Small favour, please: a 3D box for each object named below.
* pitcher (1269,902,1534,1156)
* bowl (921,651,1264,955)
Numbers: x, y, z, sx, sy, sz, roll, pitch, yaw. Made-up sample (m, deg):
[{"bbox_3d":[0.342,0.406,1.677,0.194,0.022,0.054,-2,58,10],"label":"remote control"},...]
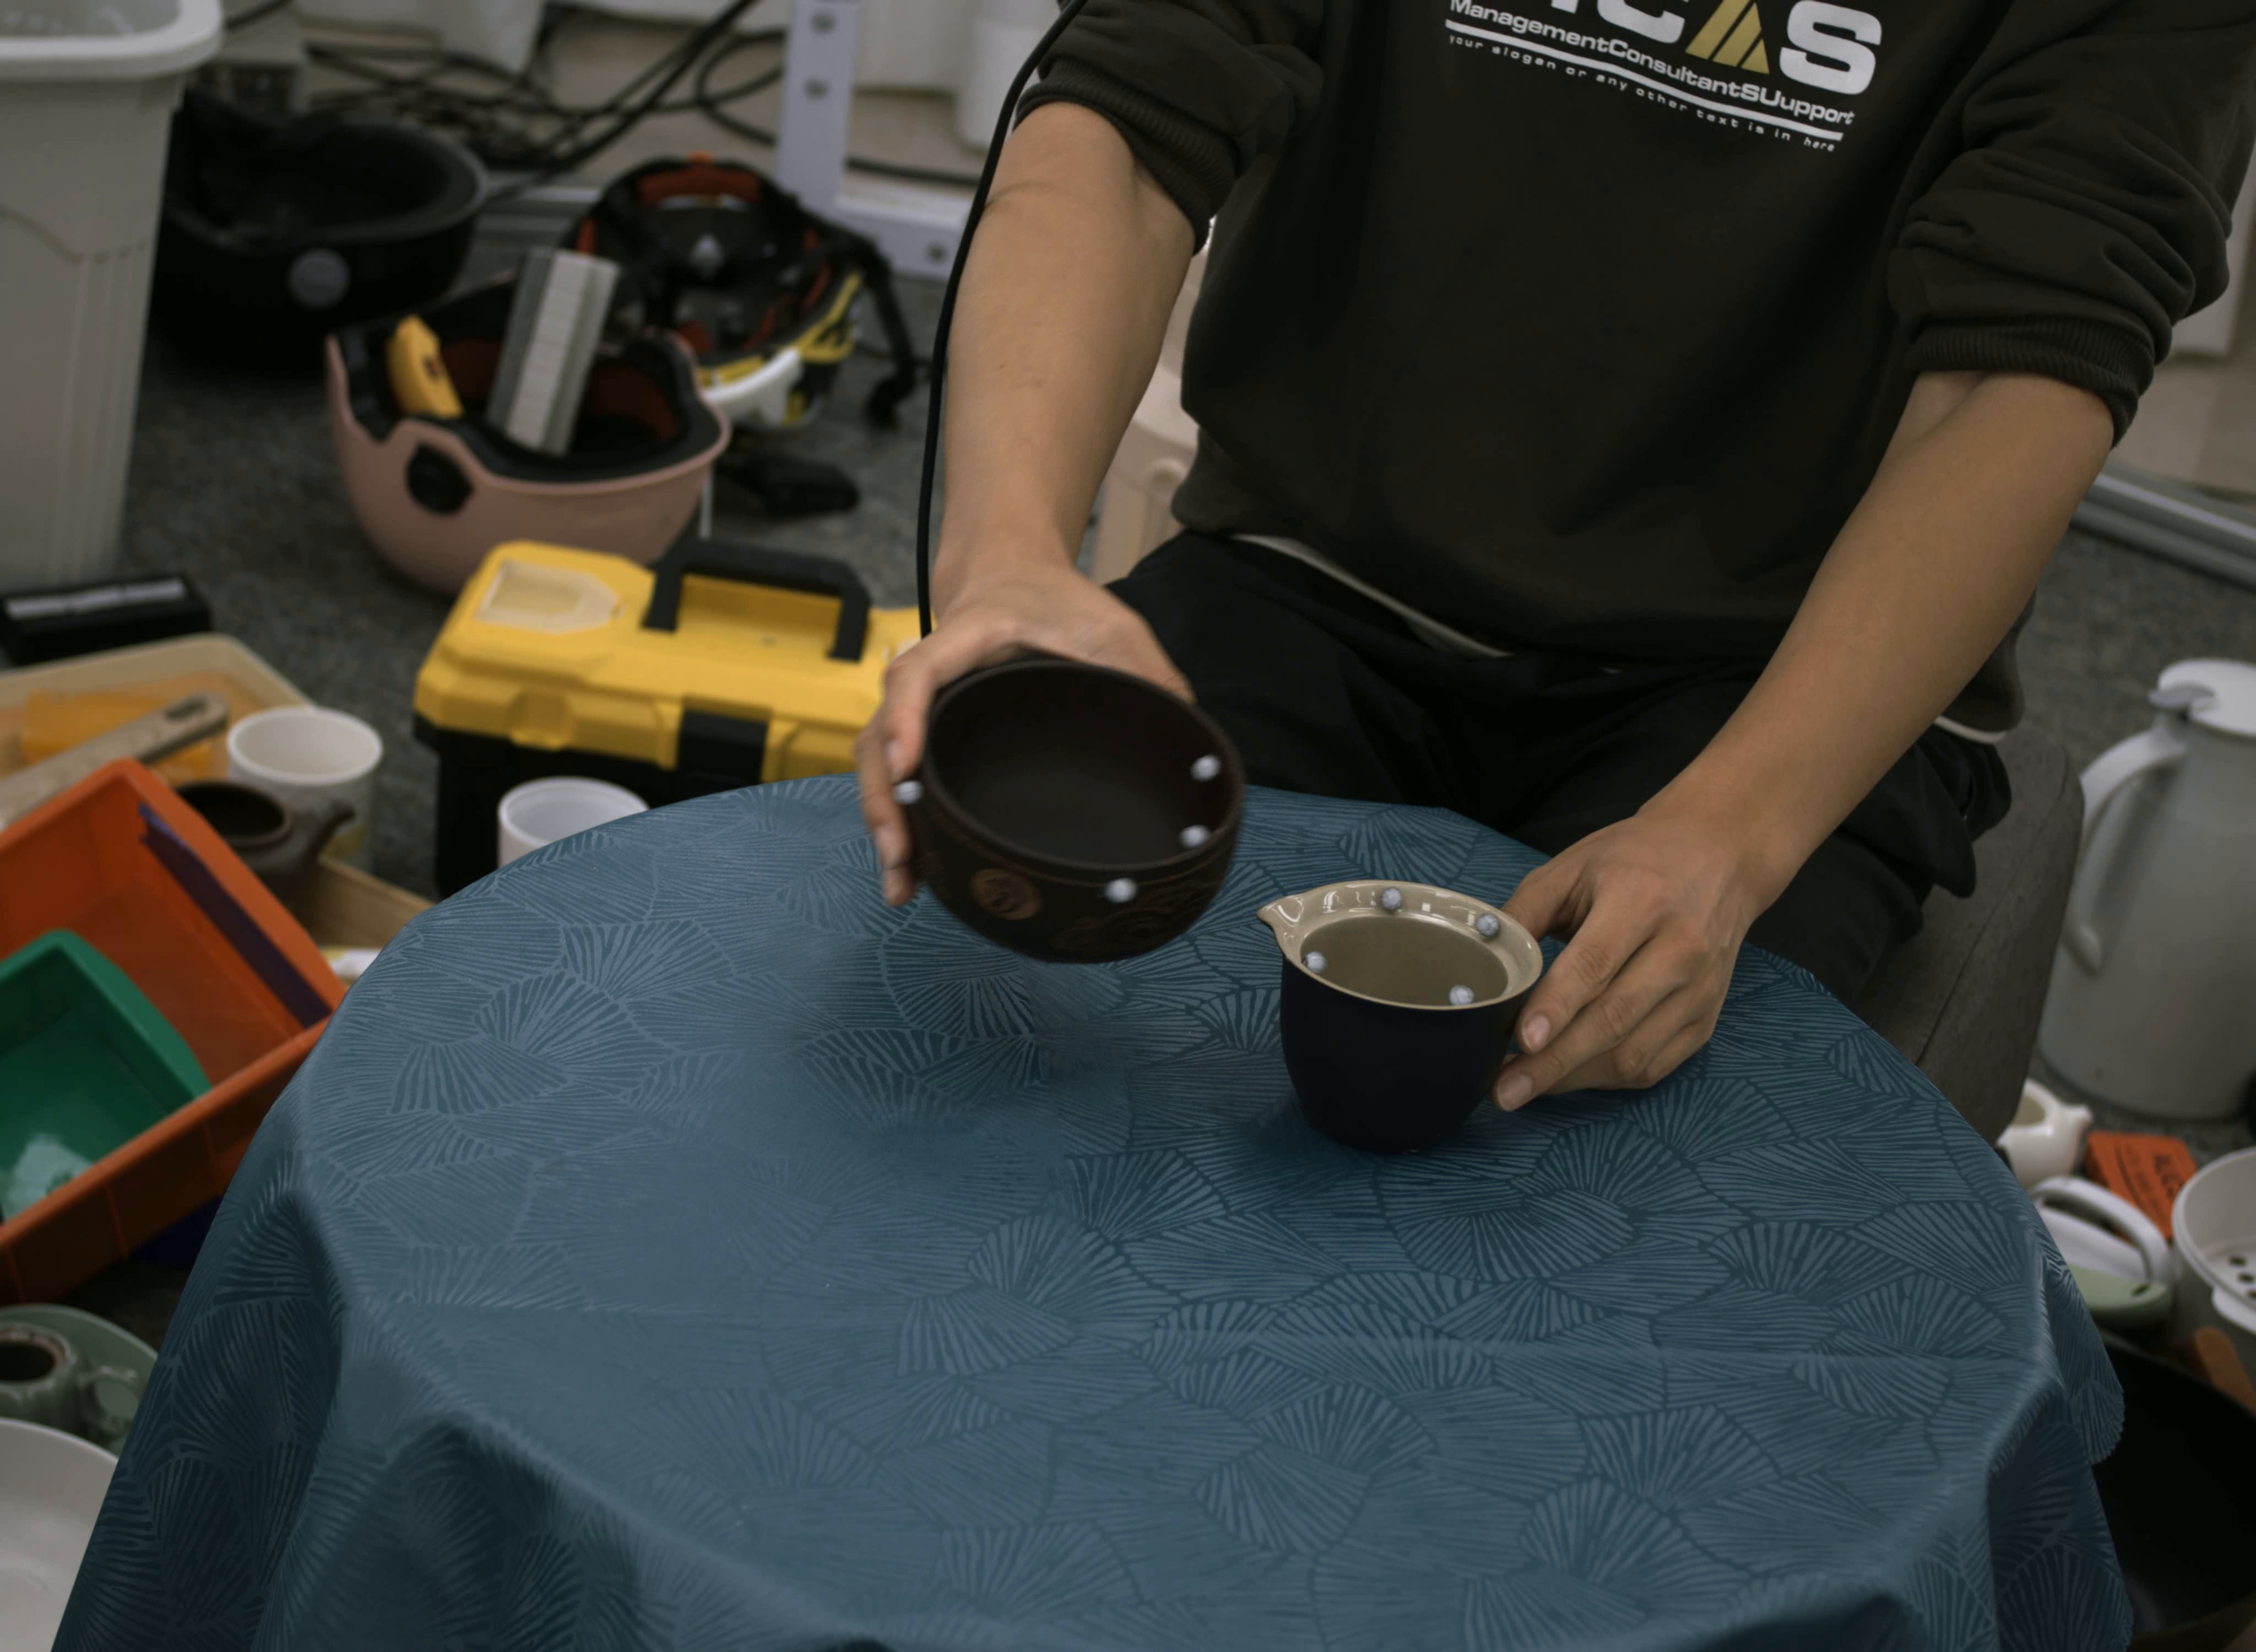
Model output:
[{"bbox_3d":[0.090,0.071,1.852,0.096,0.071,0.083,17,30,21],"label":"pitcher"},{"bbox_3d":[-0.015,0.001,1.855,0.117,0.069,0.119,8,38,-6],"label":"bowl"}]
